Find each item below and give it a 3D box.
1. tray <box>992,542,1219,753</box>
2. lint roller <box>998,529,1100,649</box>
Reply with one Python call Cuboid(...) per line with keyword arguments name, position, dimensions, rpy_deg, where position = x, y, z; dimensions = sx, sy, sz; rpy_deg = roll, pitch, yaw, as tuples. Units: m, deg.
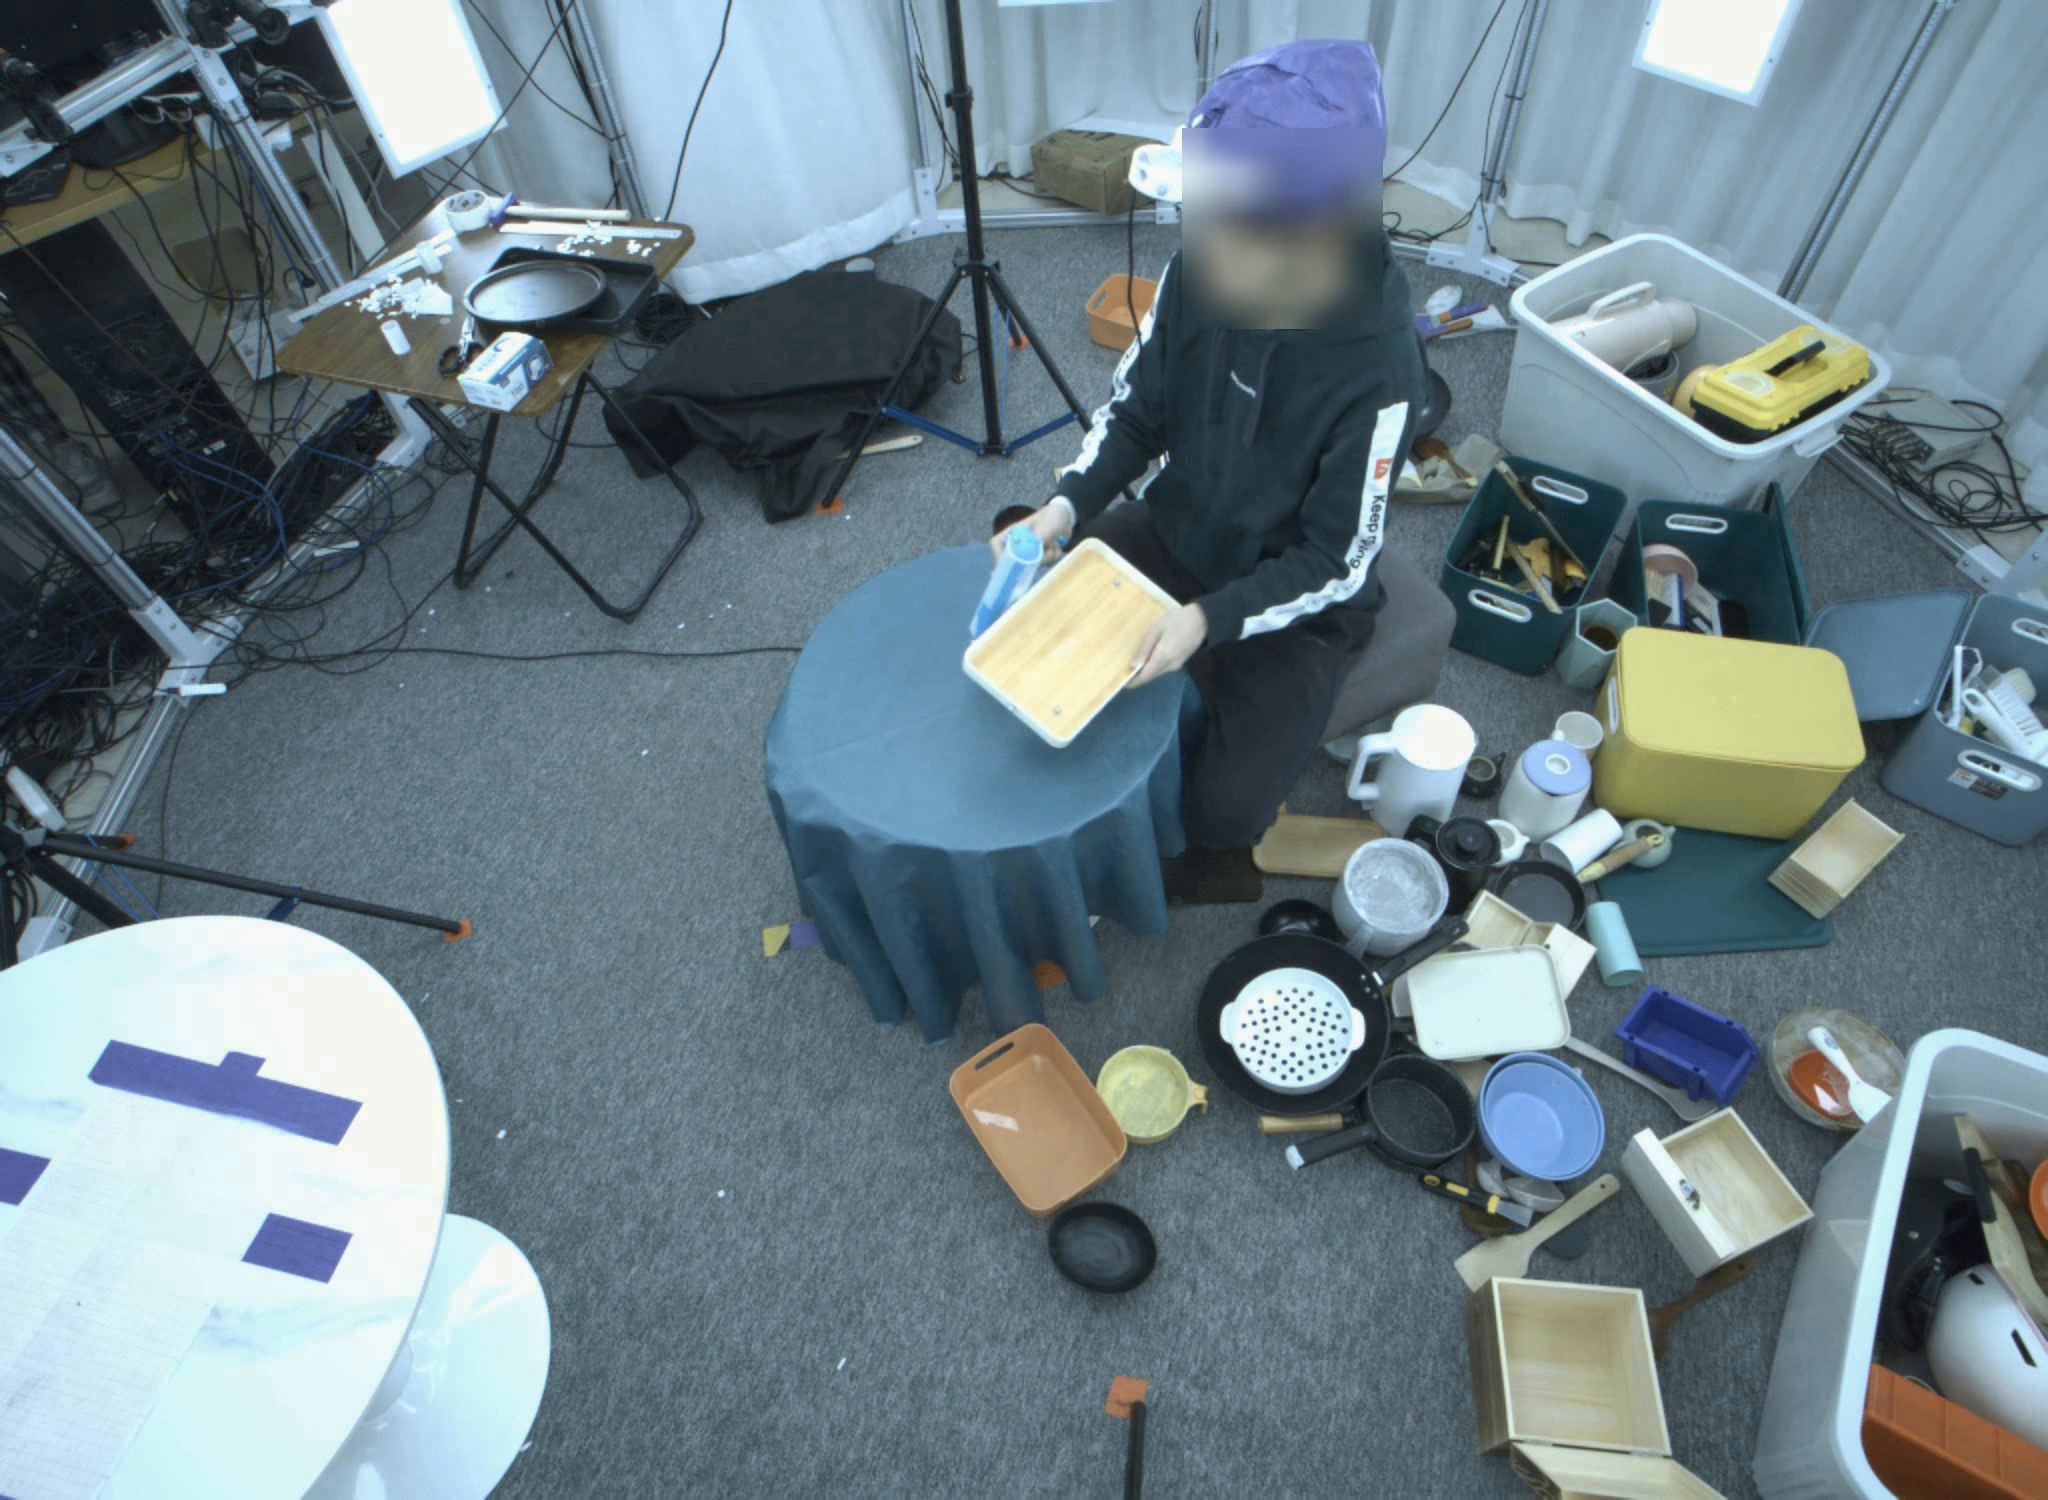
Cuboid(name="tray", position=(0.117, -0.149, 1.720), dimensions=(0.190, 0.027, 0.302), rpy_deg=(43, 64, 7))
Cuboid(name="lint roller", position=(0.042, -0.254, 1.764), dimensions=(0.068, 0.228, 0.181), rpy_deg=(33, 51, 4))
